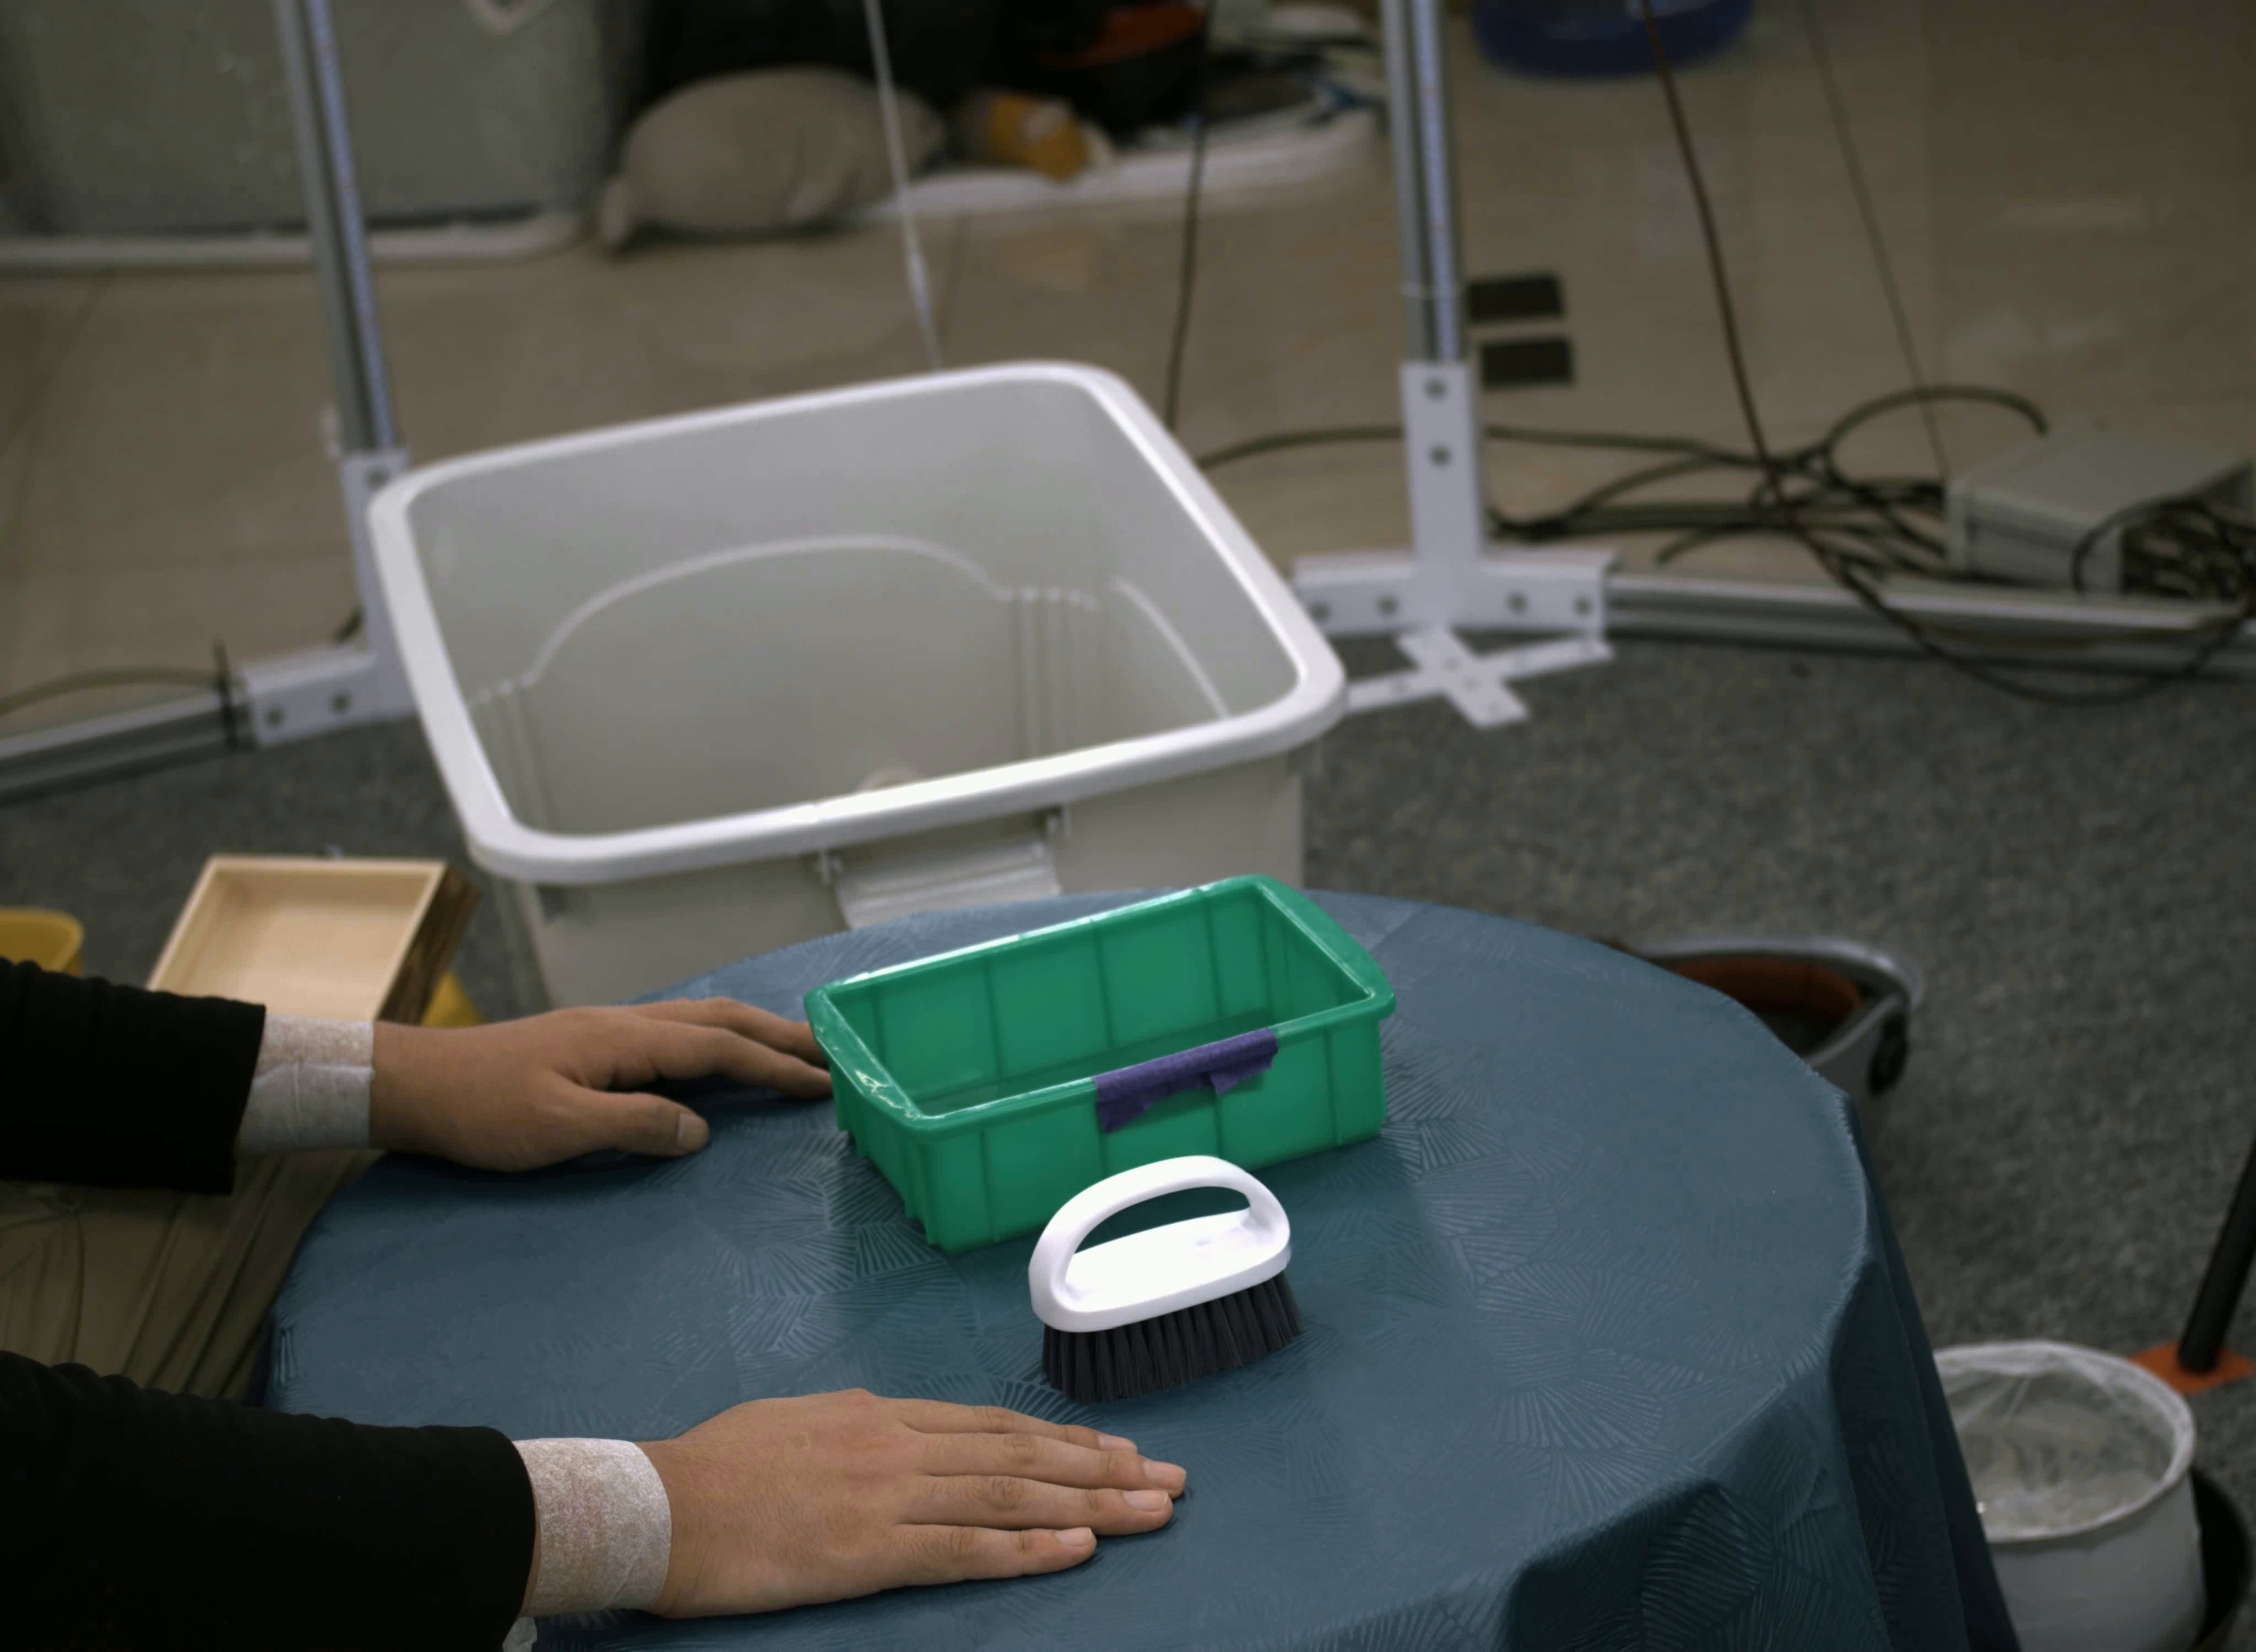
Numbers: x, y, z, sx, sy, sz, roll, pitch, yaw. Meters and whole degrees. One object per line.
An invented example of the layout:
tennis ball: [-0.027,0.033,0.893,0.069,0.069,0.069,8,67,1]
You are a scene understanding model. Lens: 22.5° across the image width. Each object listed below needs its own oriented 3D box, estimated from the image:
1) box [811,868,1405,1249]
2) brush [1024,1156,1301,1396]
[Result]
box: [-0.006,0.090,2.180,0.209,0.066,0.137,-14,28,-18]
brush: [0.010,0.155,2.023,0.099,0.074,0.049,-14,27,-15]
